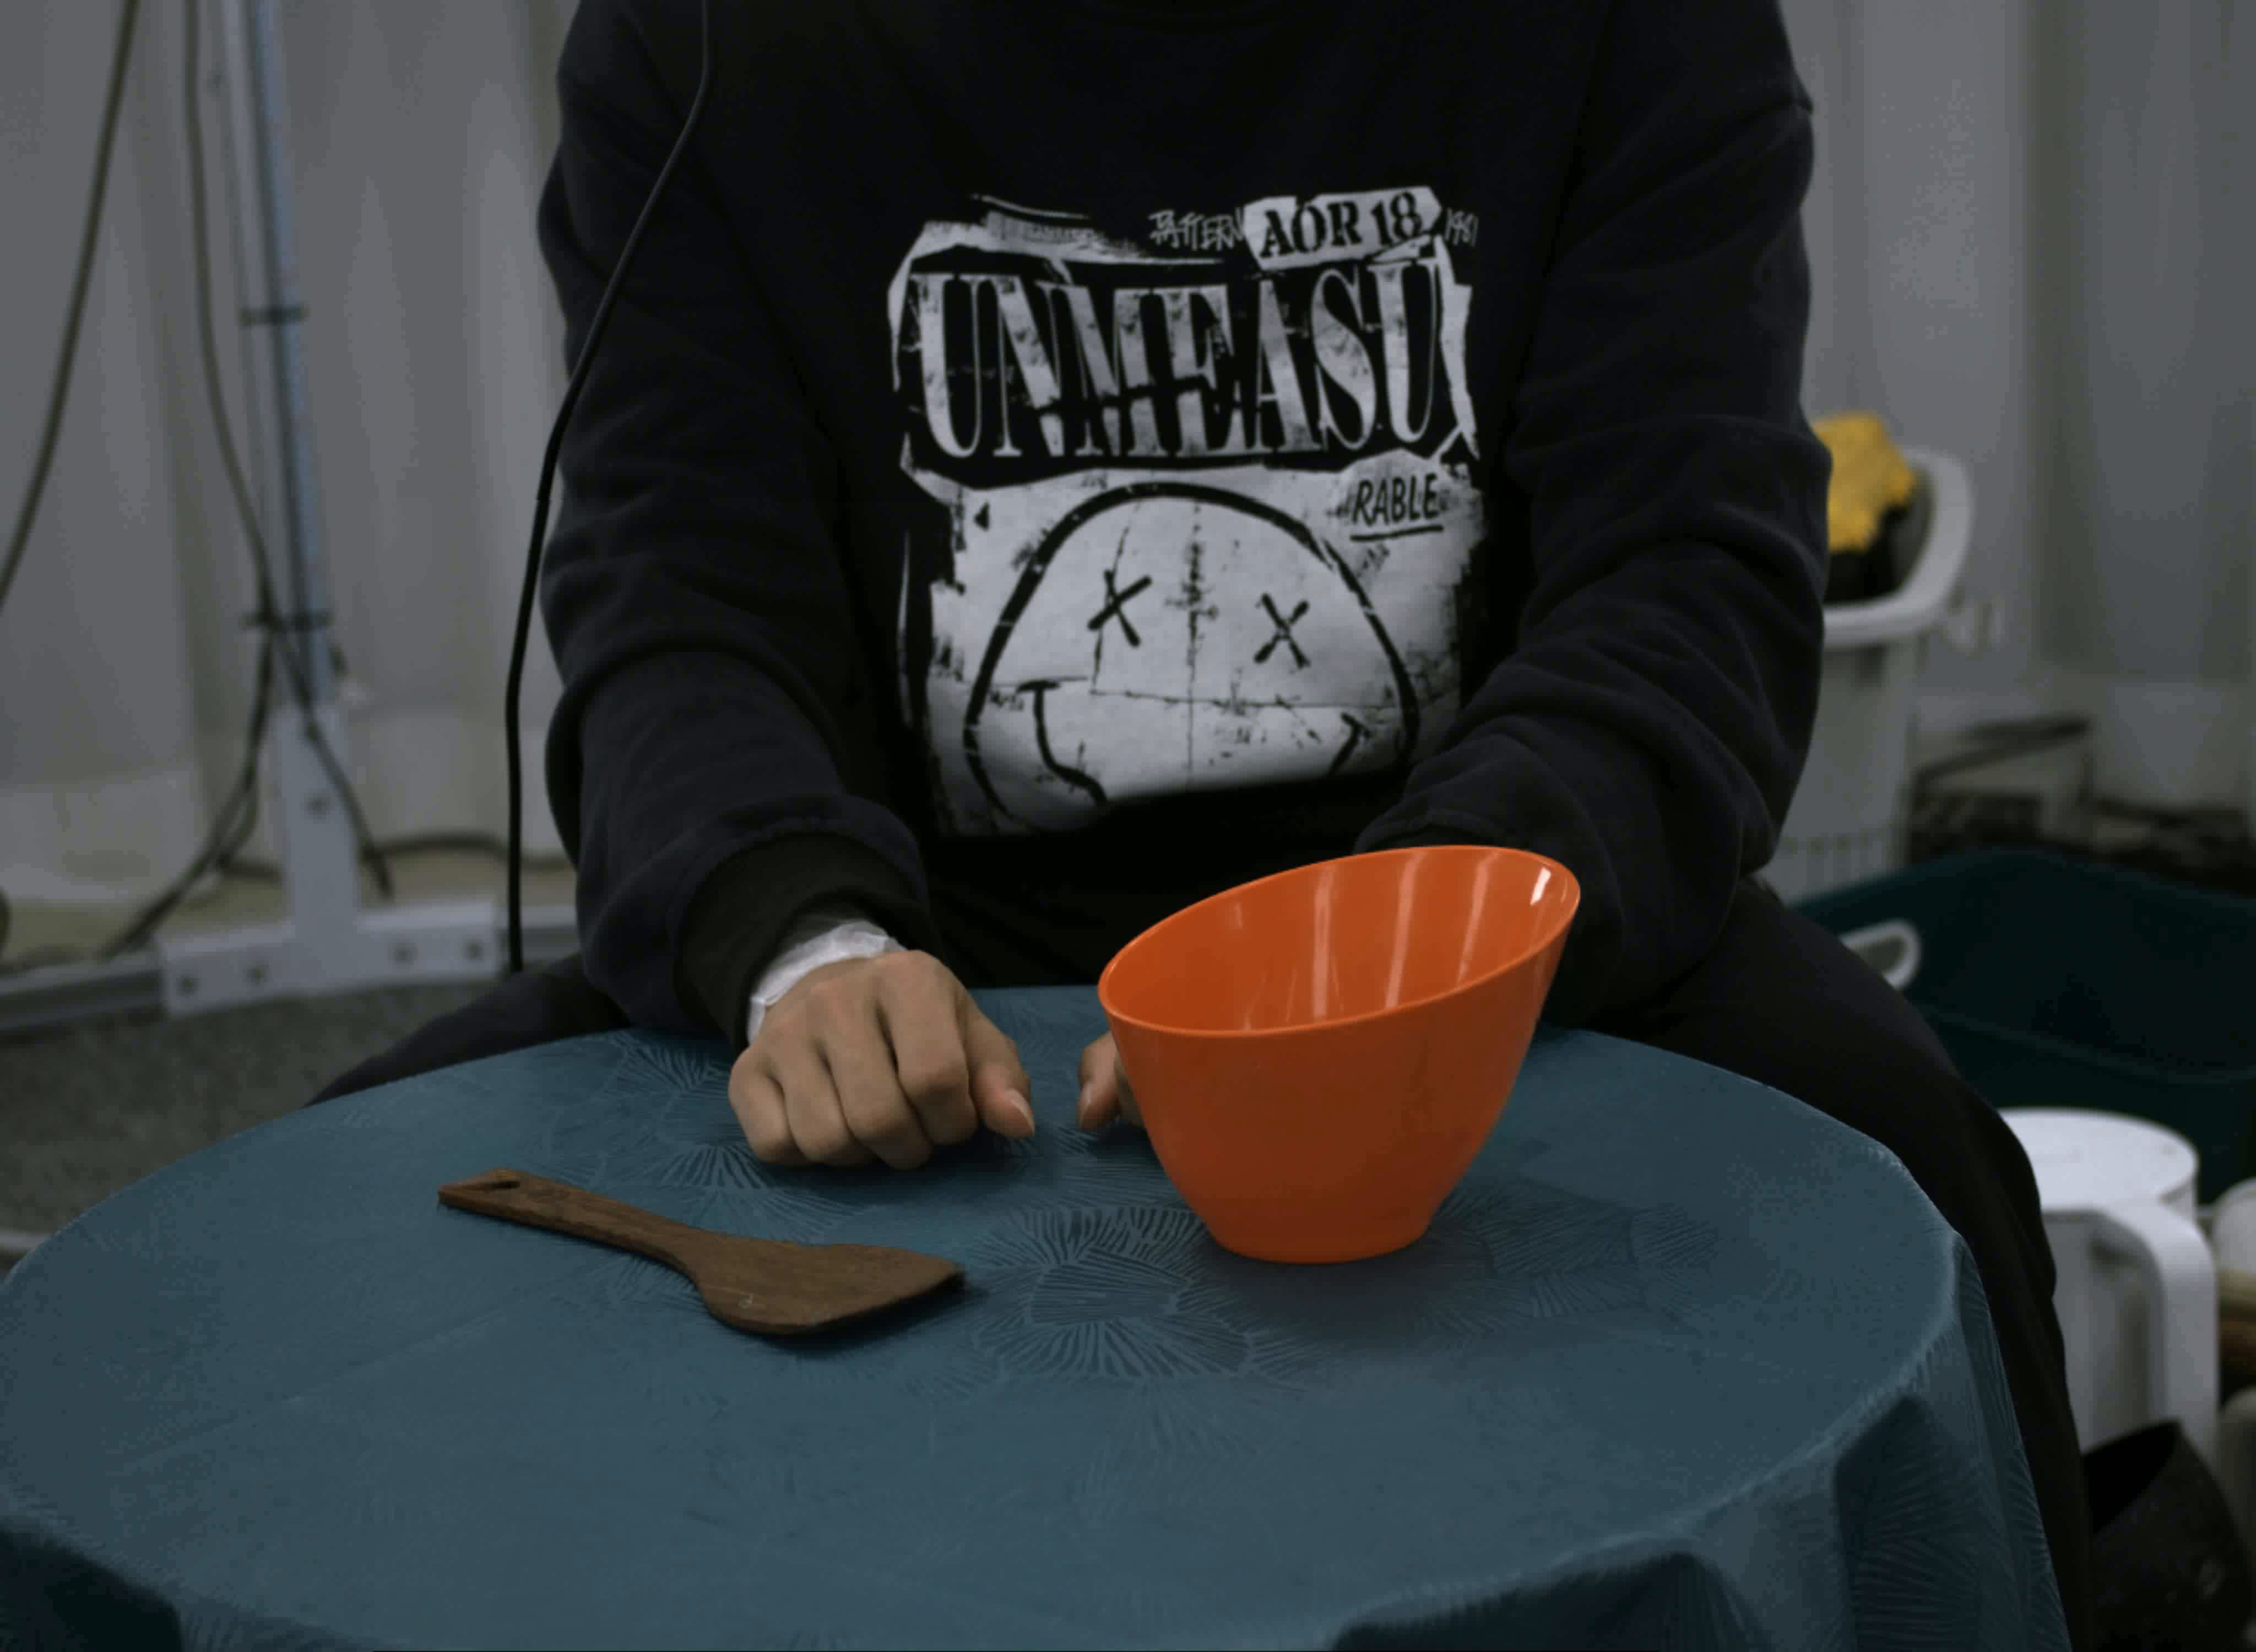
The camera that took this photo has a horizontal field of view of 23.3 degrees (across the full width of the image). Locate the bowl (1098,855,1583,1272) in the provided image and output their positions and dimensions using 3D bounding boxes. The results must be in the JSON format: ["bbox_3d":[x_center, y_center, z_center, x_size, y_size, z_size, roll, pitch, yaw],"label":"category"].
[{"bbox_3d":[0.066,0.075,1.660,0.147,0.104,0.149,-2,14,0],"label":"bowl"}]

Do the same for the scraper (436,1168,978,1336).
[{"bbox_3d":[-0.139,0.128,1.676,0.212,0.011,0.075,11,19,44],"label":"scraper"}]
